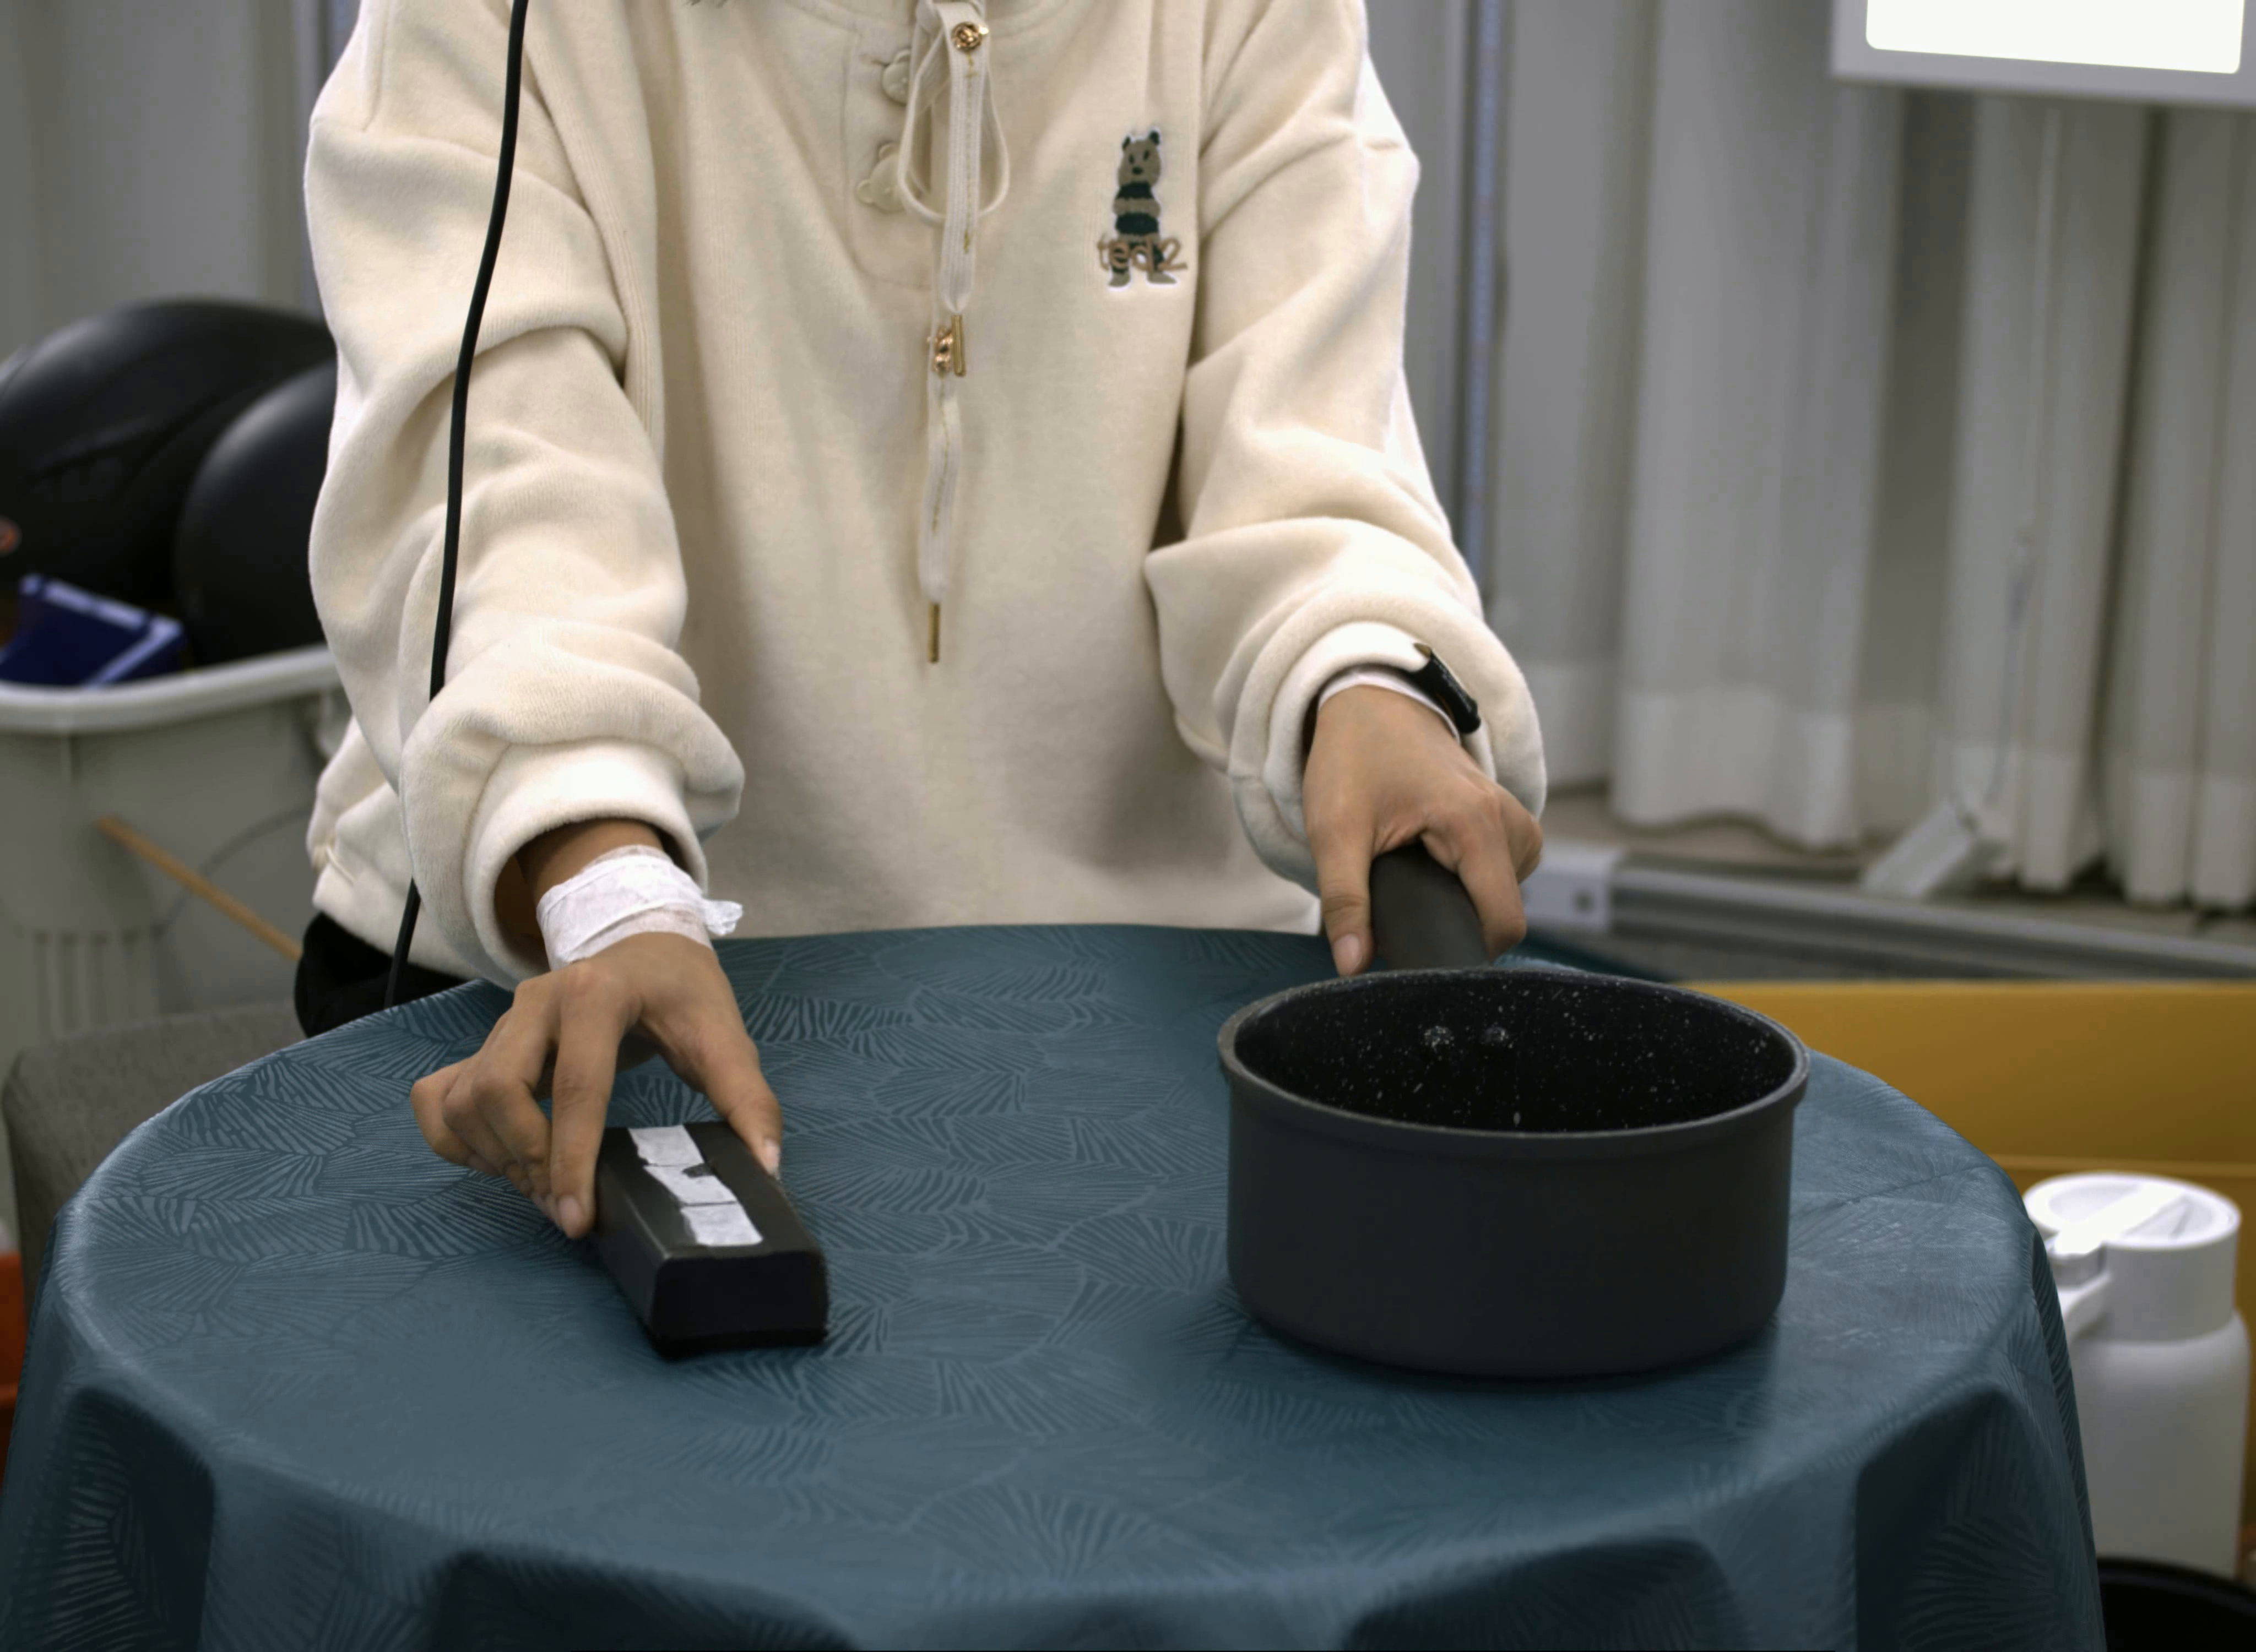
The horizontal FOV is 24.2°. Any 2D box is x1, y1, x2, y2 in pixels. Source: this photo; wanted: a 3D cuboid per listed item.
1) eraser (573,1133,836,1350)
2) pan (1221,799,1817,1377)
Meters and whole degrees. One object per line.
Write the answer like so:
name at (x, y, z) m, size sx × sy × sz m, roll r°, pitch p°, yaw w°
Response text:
eraser at (-0.125, 0.120, 1.536) m, size 0.053 × 0.030 × 0.124 m, roll 0°, pitch 14°, yaw -17°
pan at (0.107, 0.075, 1.599) m, size 0.171 × 0.087 × 0.326 m, roll 1°, pitch 16°, yaw -4°
